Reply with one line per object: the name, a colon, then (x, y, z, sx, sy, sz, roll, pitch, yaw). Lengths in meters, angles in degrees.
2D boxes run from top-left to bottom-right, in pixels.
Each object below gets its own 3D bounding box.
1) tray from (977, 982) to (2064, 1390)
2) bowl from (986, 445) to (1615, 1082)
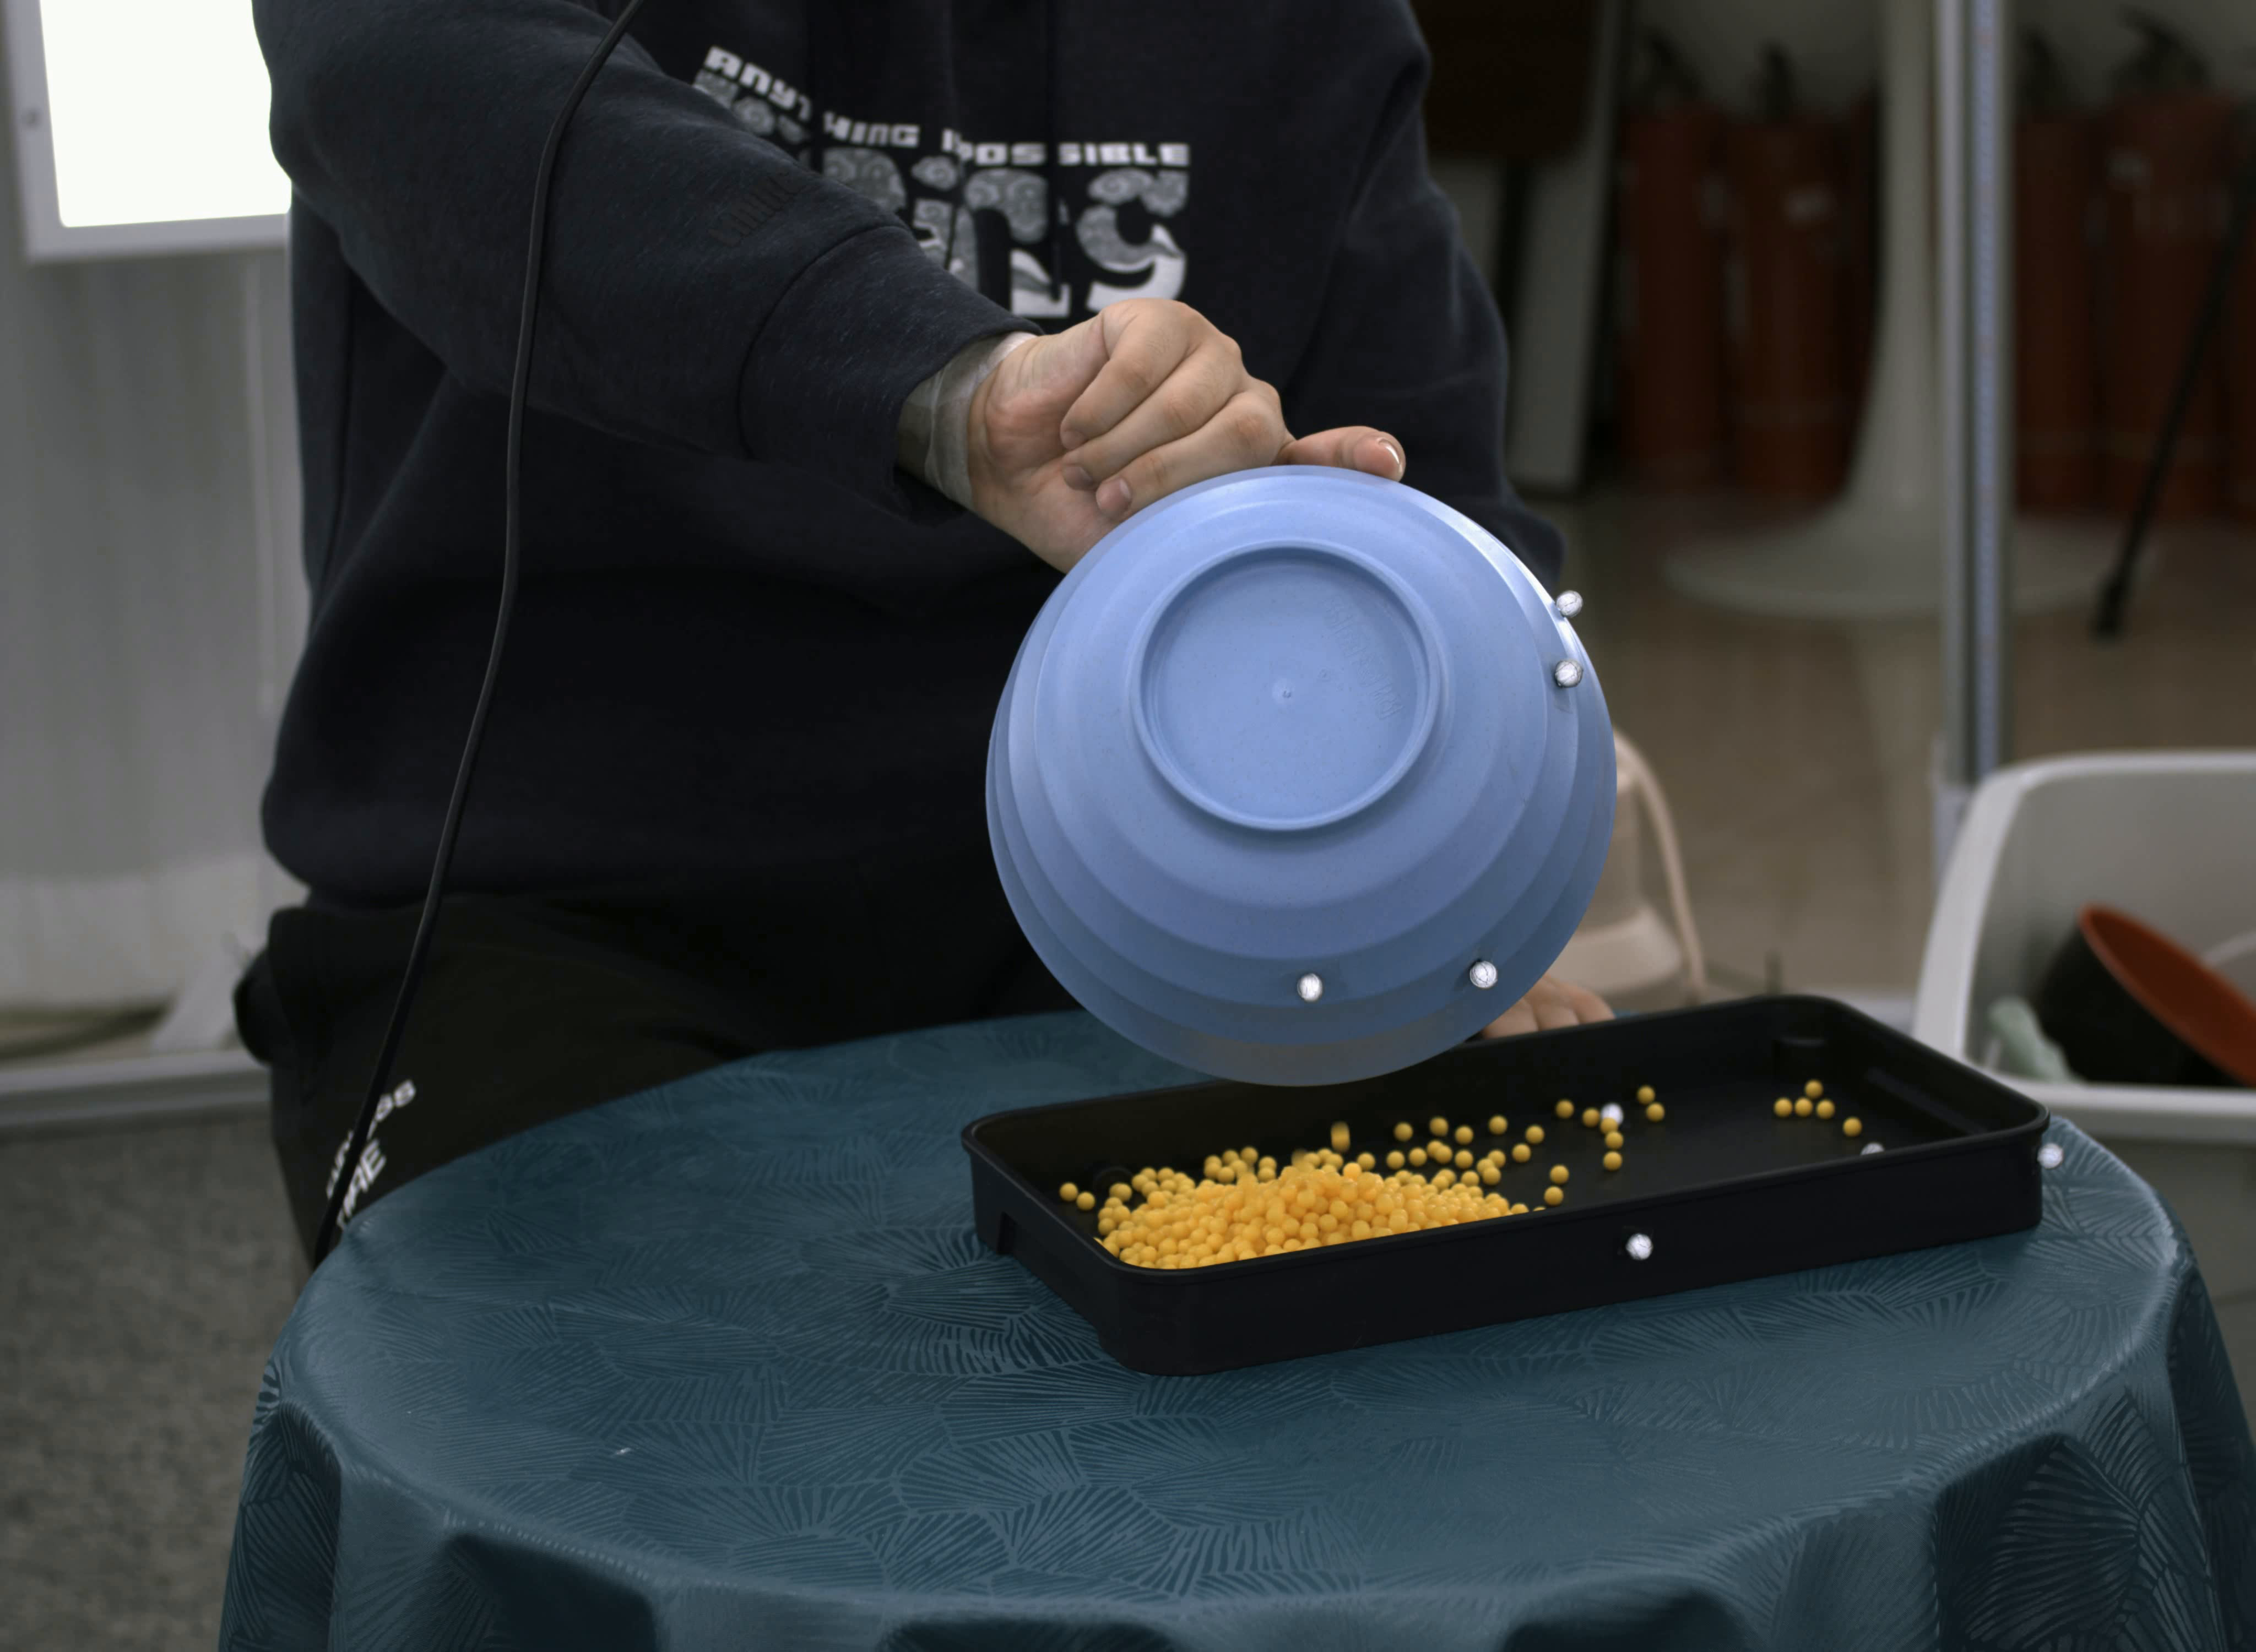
tray: (0.124, 0.110, 1.714, 0.311, 0.037, 0.186, -10, 14, -19)
bowl: (0.048, -0.031, 1.613, 0.194, 0.199, 0.095, -2, -18, 7)
